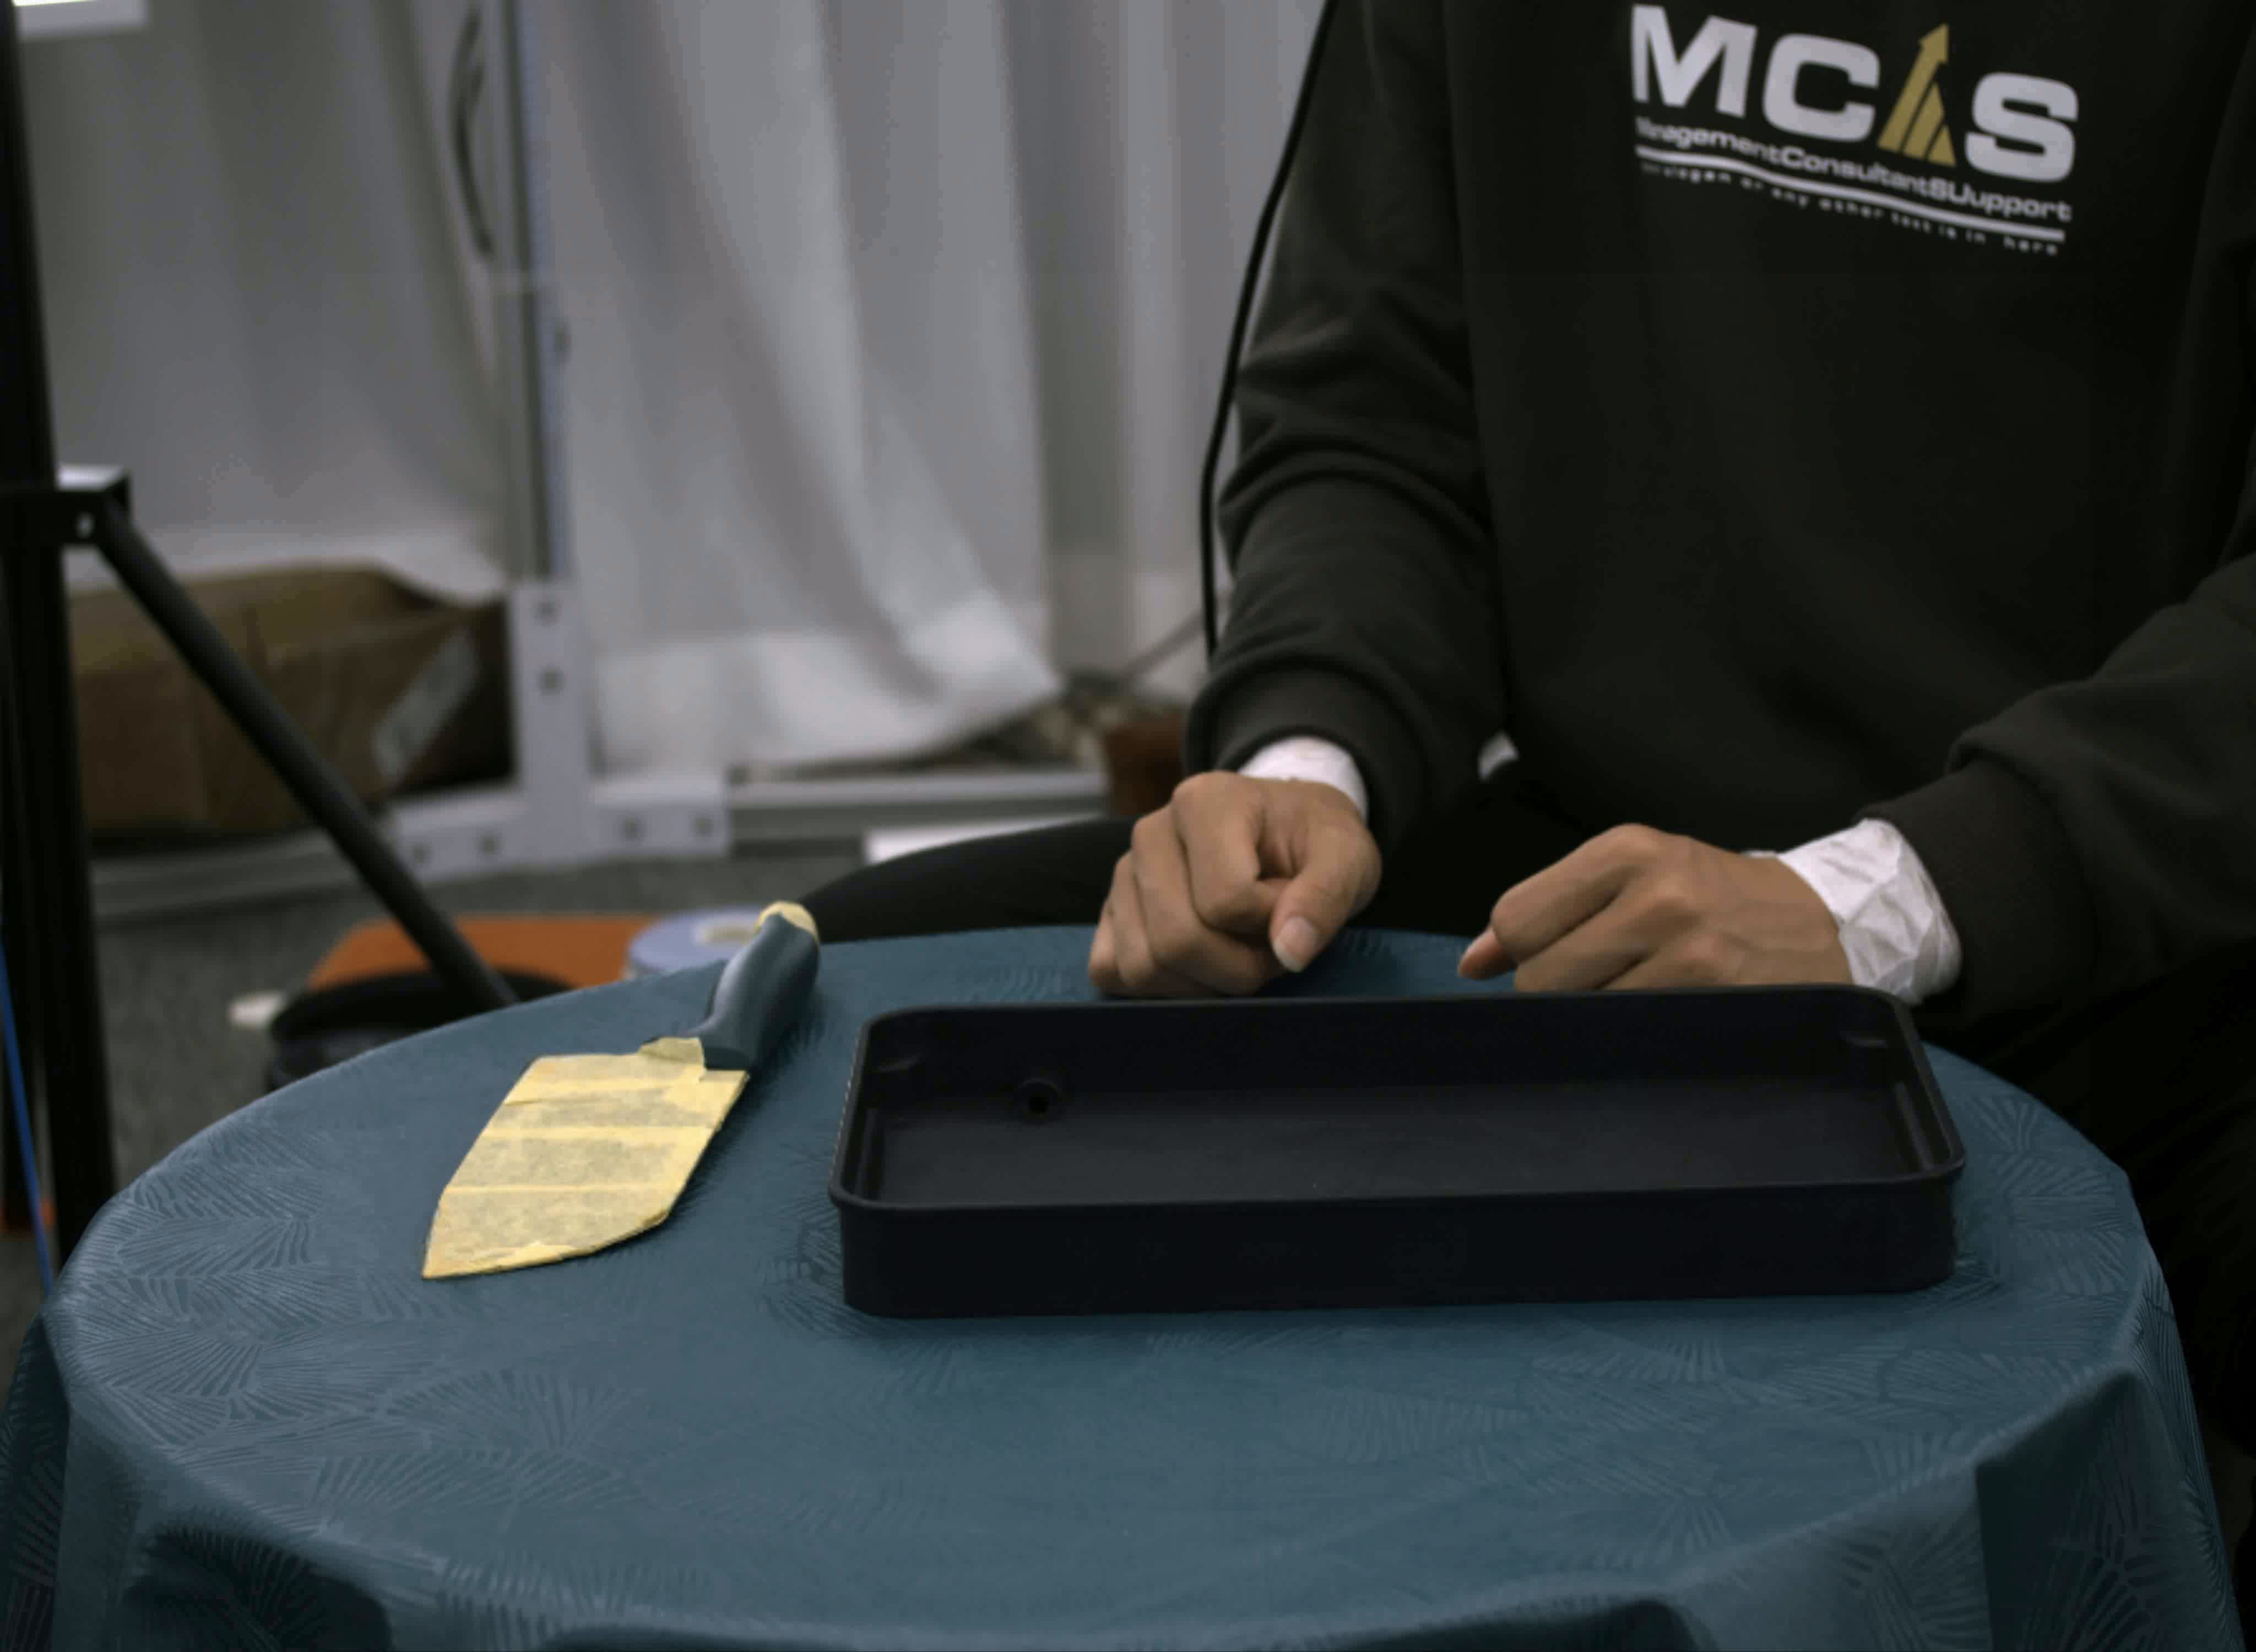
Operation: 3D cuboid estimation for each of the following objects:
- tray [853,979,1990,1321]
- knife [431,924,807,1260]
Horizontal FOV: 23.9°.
[{"bbox_3d":[0.081,0.092,1.540,0.317,0.037,0.185,-2,15,1],"label":"tray"},{"bbox_3d":[-0.153,0.082,1.650,0.081,0.027,0.288,2,17,12],"label":"knife"}]
